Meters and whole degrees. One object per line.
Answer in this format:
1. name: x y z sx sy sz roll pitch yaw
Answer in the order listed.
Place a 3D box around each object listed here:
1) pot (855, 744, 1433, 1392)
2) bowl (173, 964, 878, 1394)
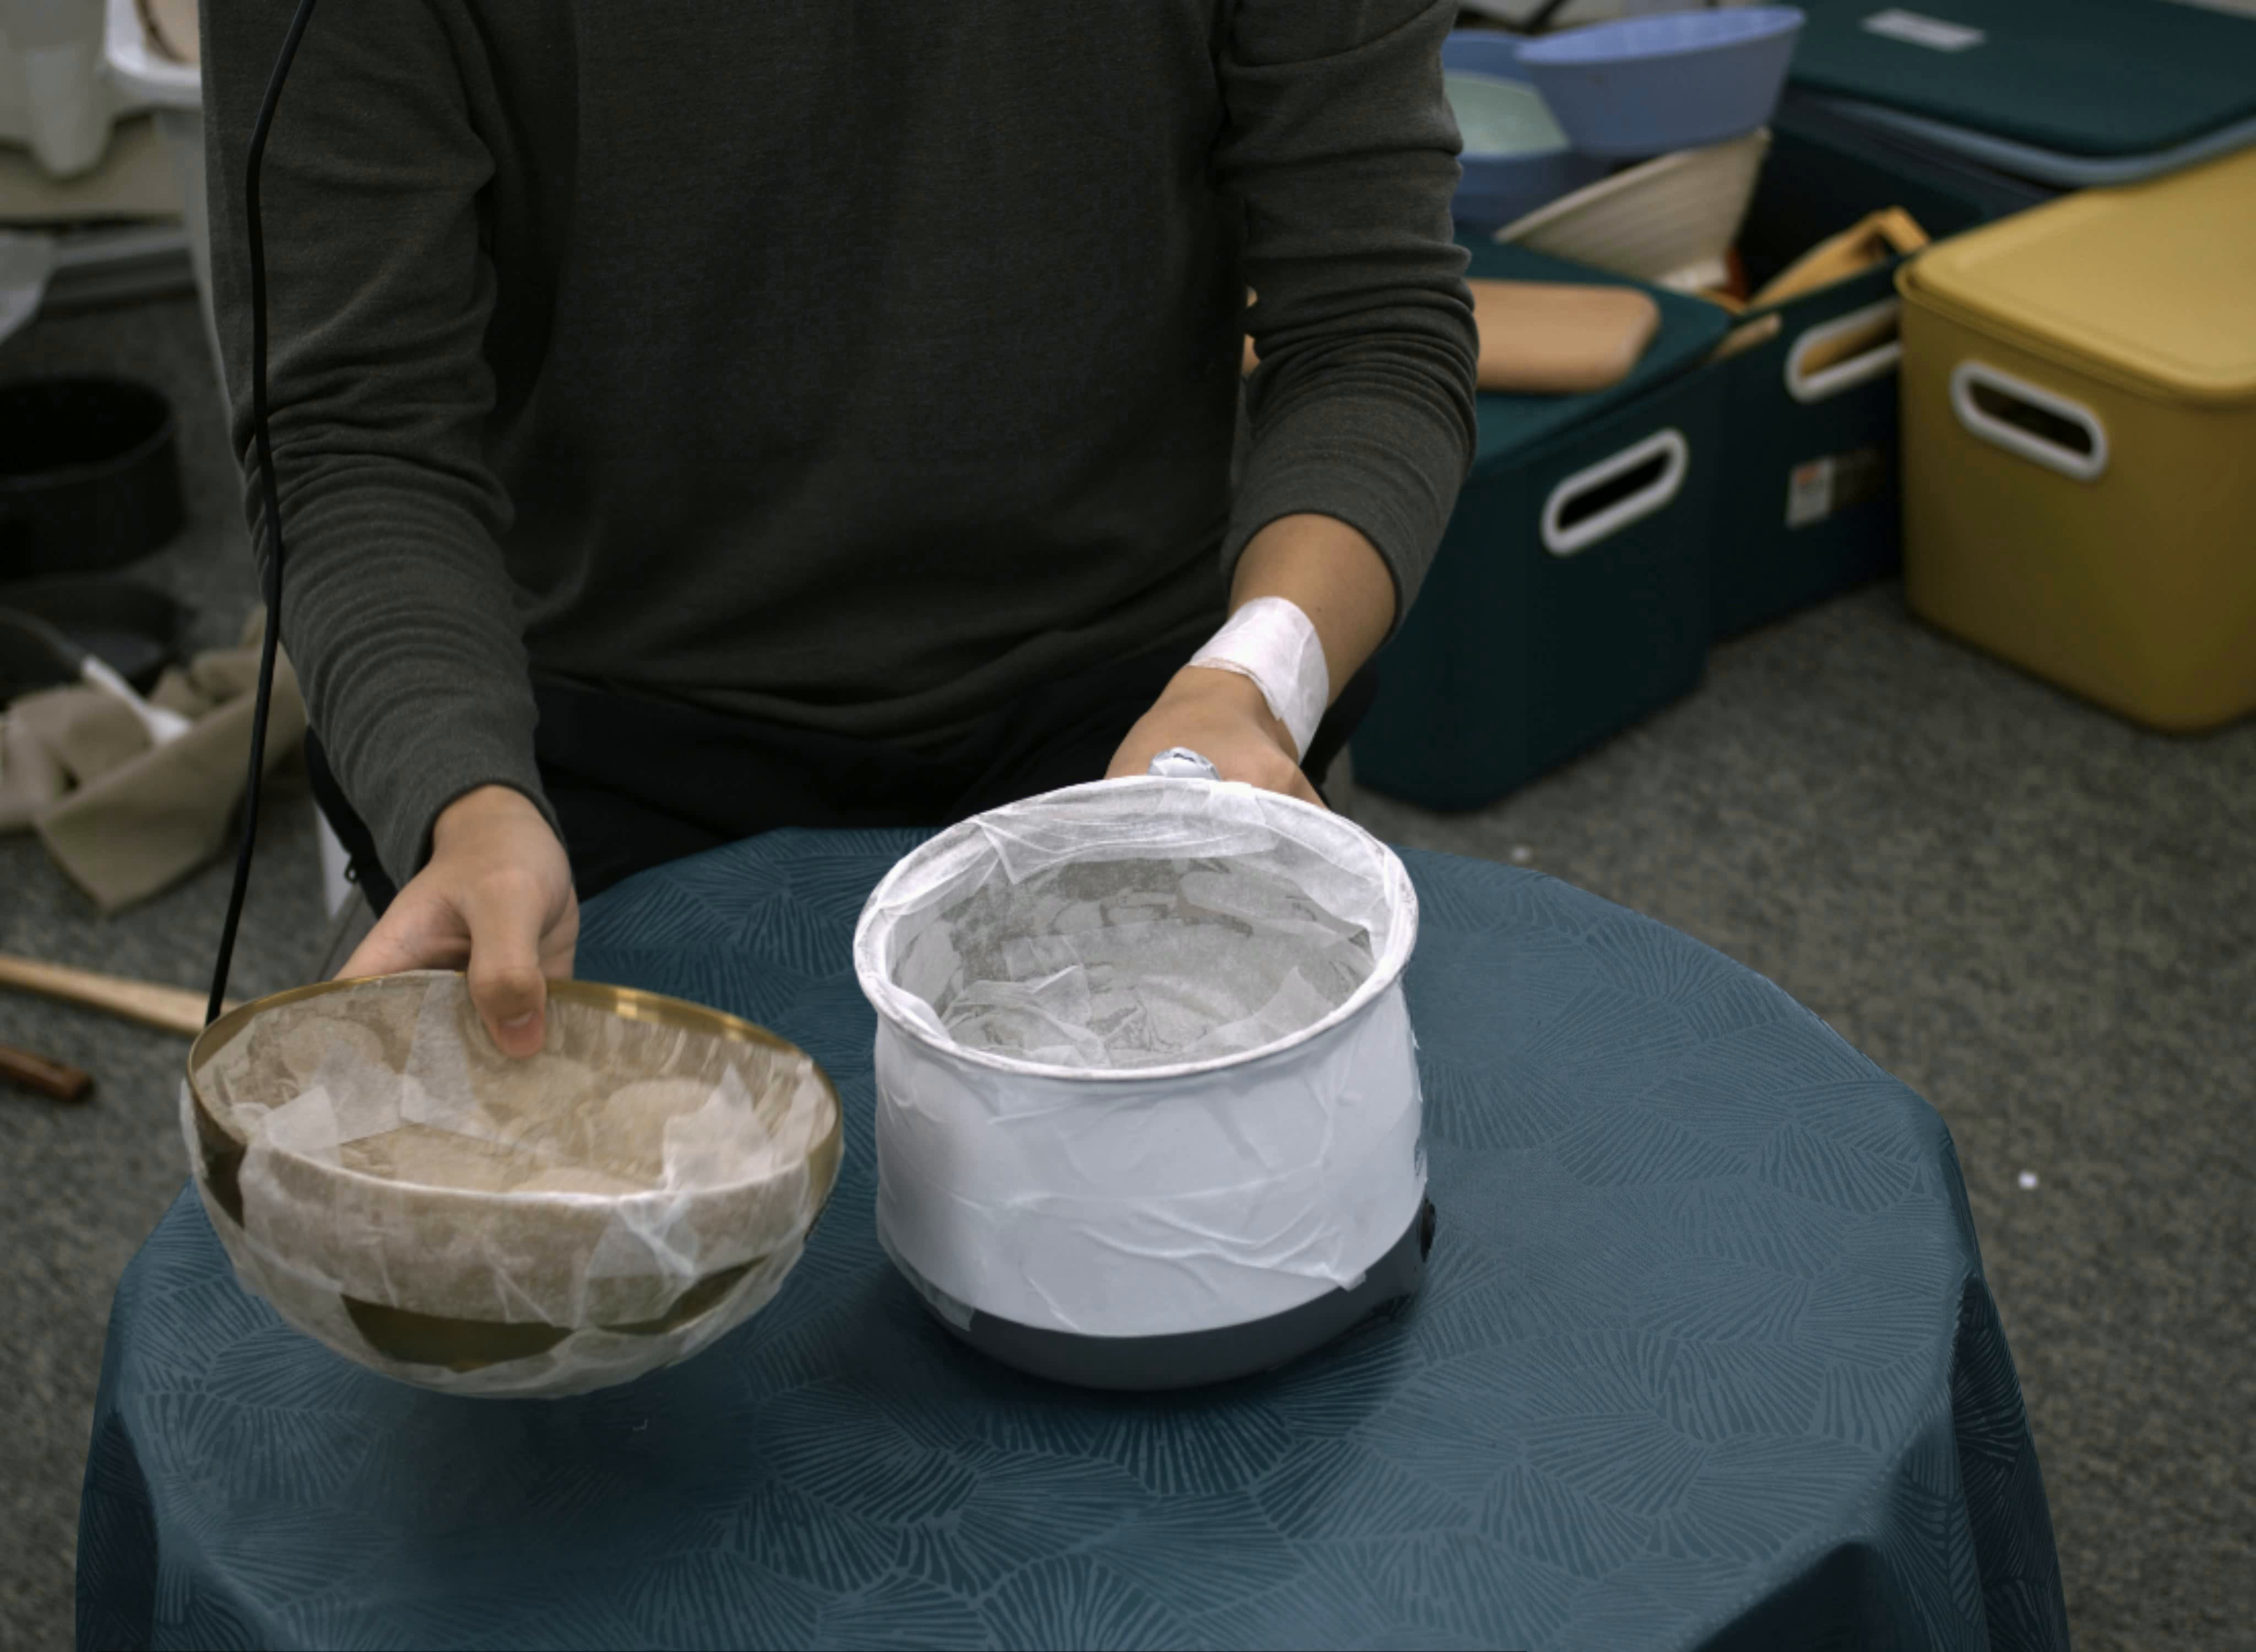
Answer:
1. pot: 0.010 0.069 1.805 0.177 0.135 0.238 1 30 7
2. bowl: -0.189 0.117 1.706 0.214 0.094 0.216 7 15 -1
